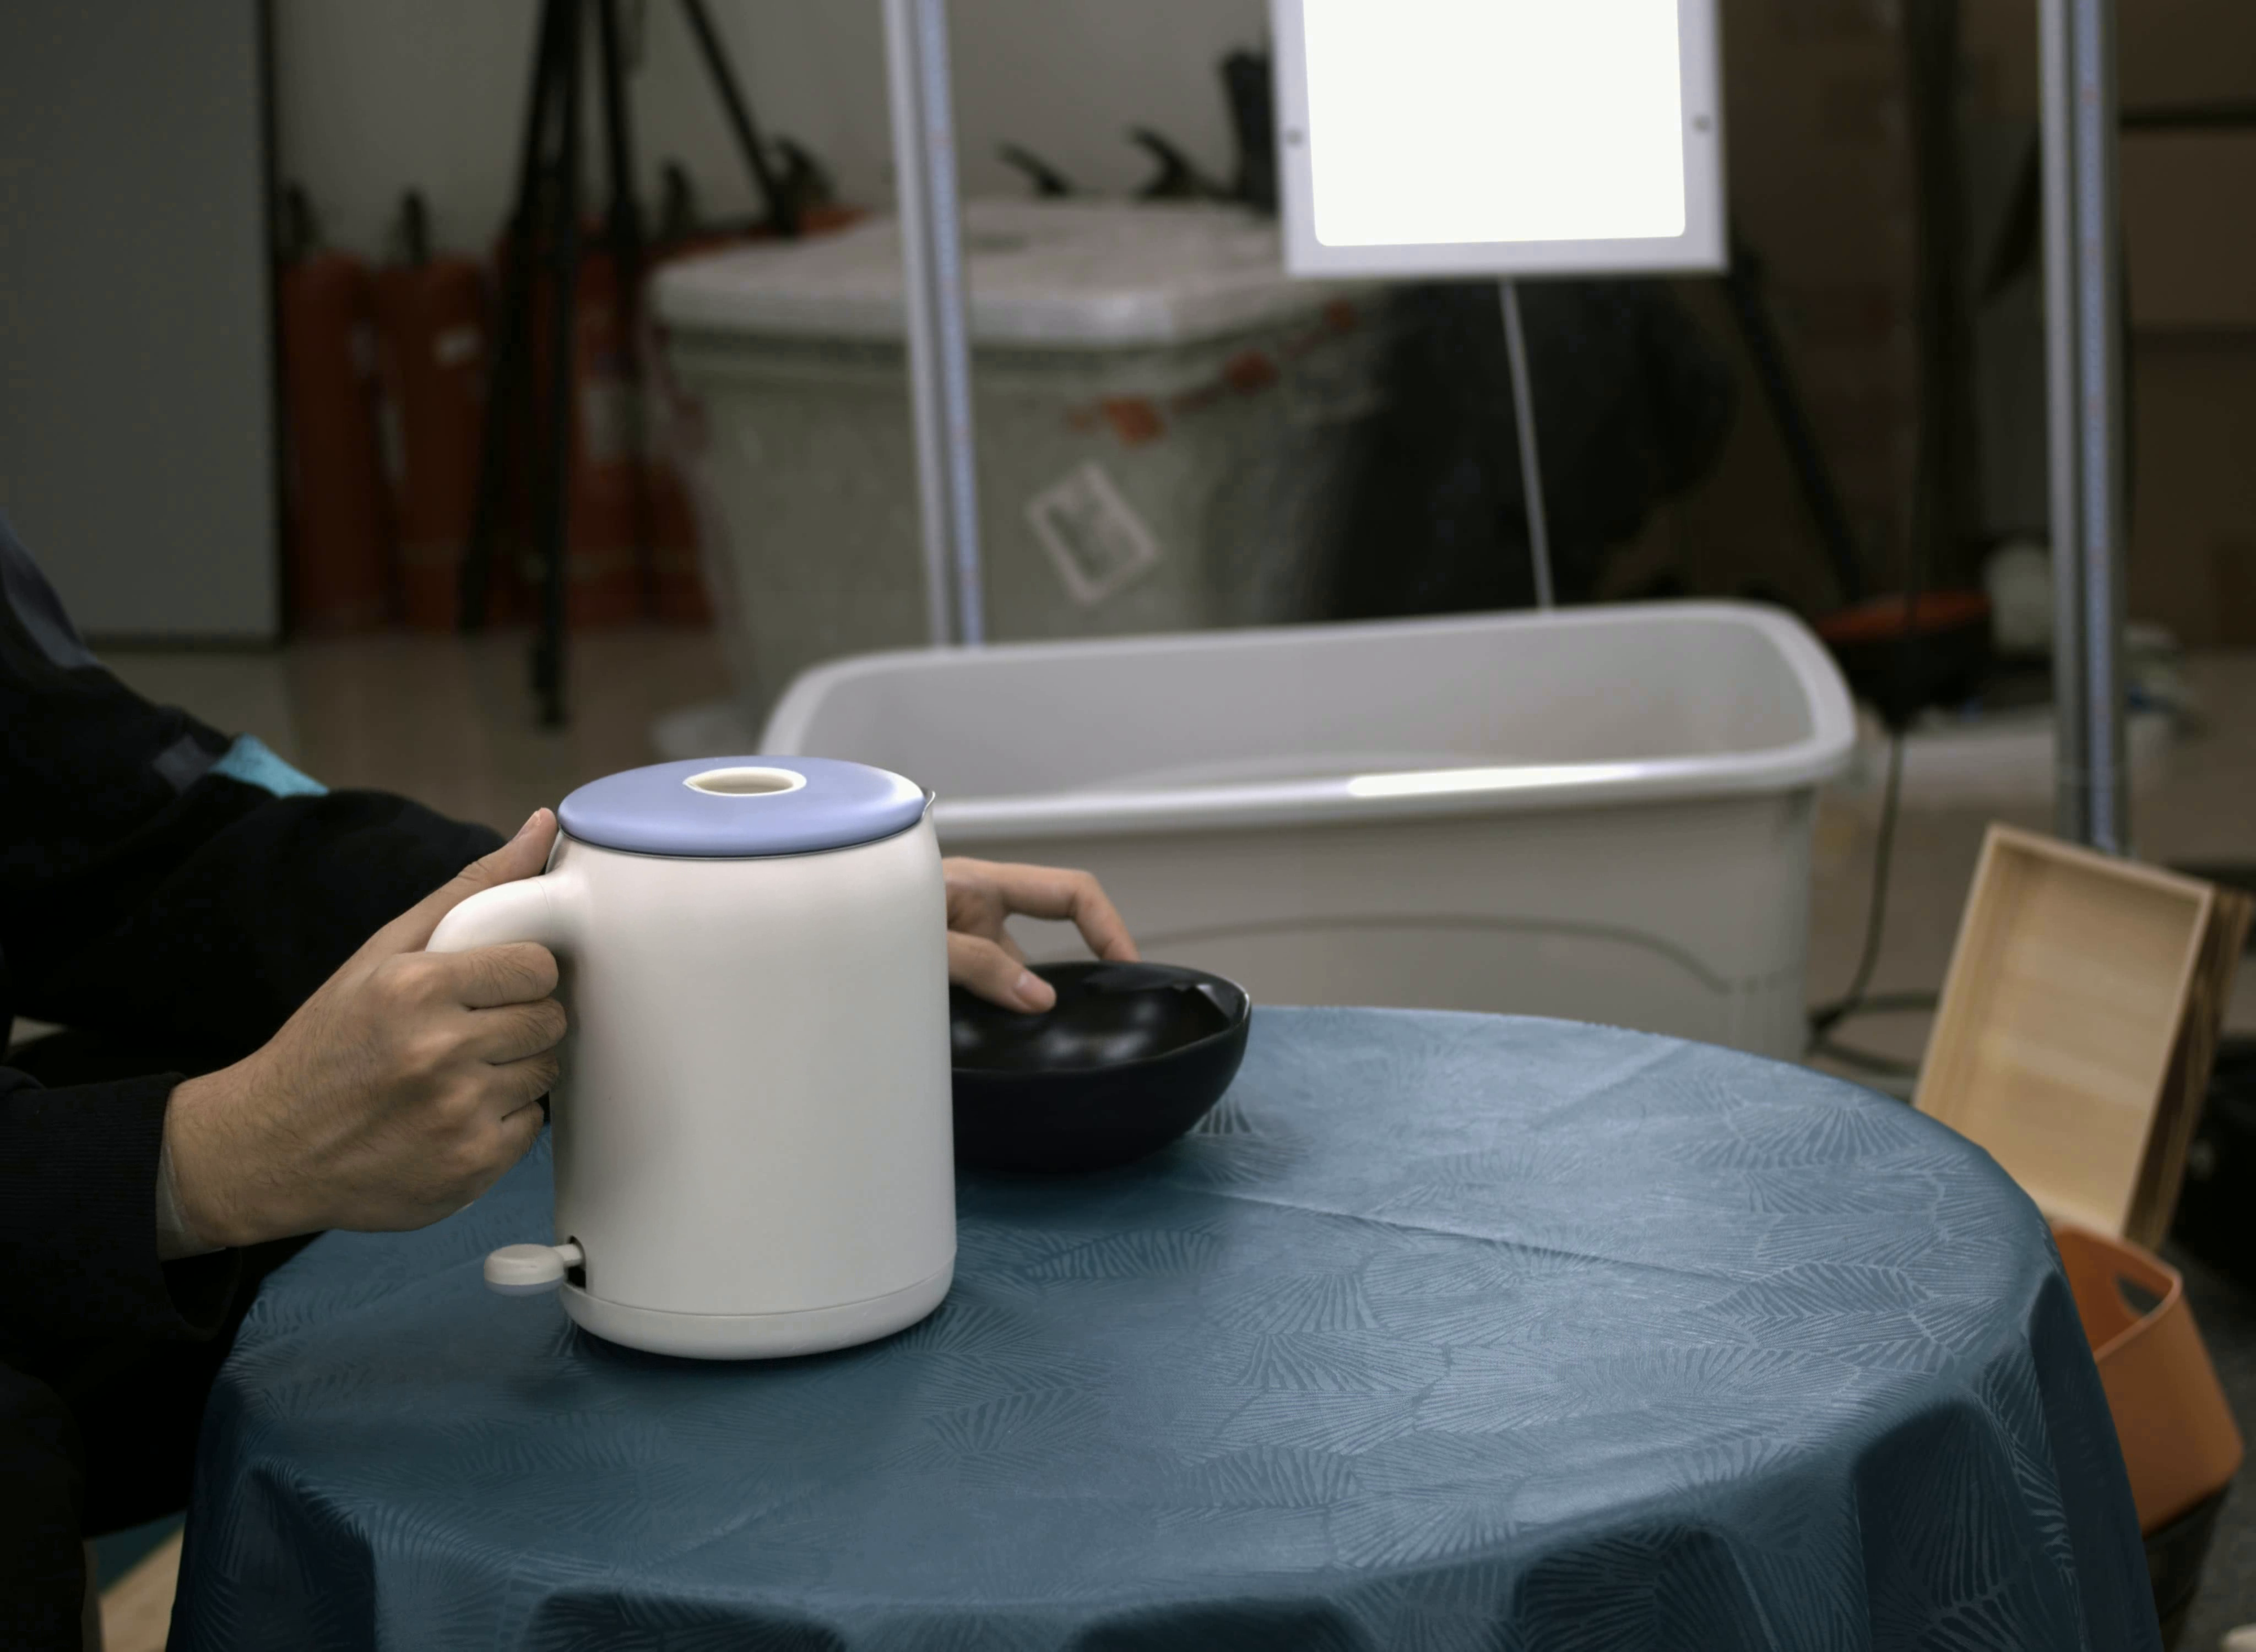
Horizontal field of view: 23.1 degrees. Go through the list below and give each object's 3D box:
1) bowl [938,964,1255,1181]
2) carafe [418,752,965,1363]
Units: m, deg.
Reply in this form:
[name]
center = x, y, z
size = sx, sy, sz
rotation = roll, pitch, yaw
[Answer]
[bowl]
center = -0.022, 0.091, 1.948
size = 0.140, 0.050, 0.140
rotation = -7, 14, 0
[carafe]
center = -0.142, 0.078, 1.772
size = 0.187, 0.183, 0.135
rotation = -12, 15, -29
